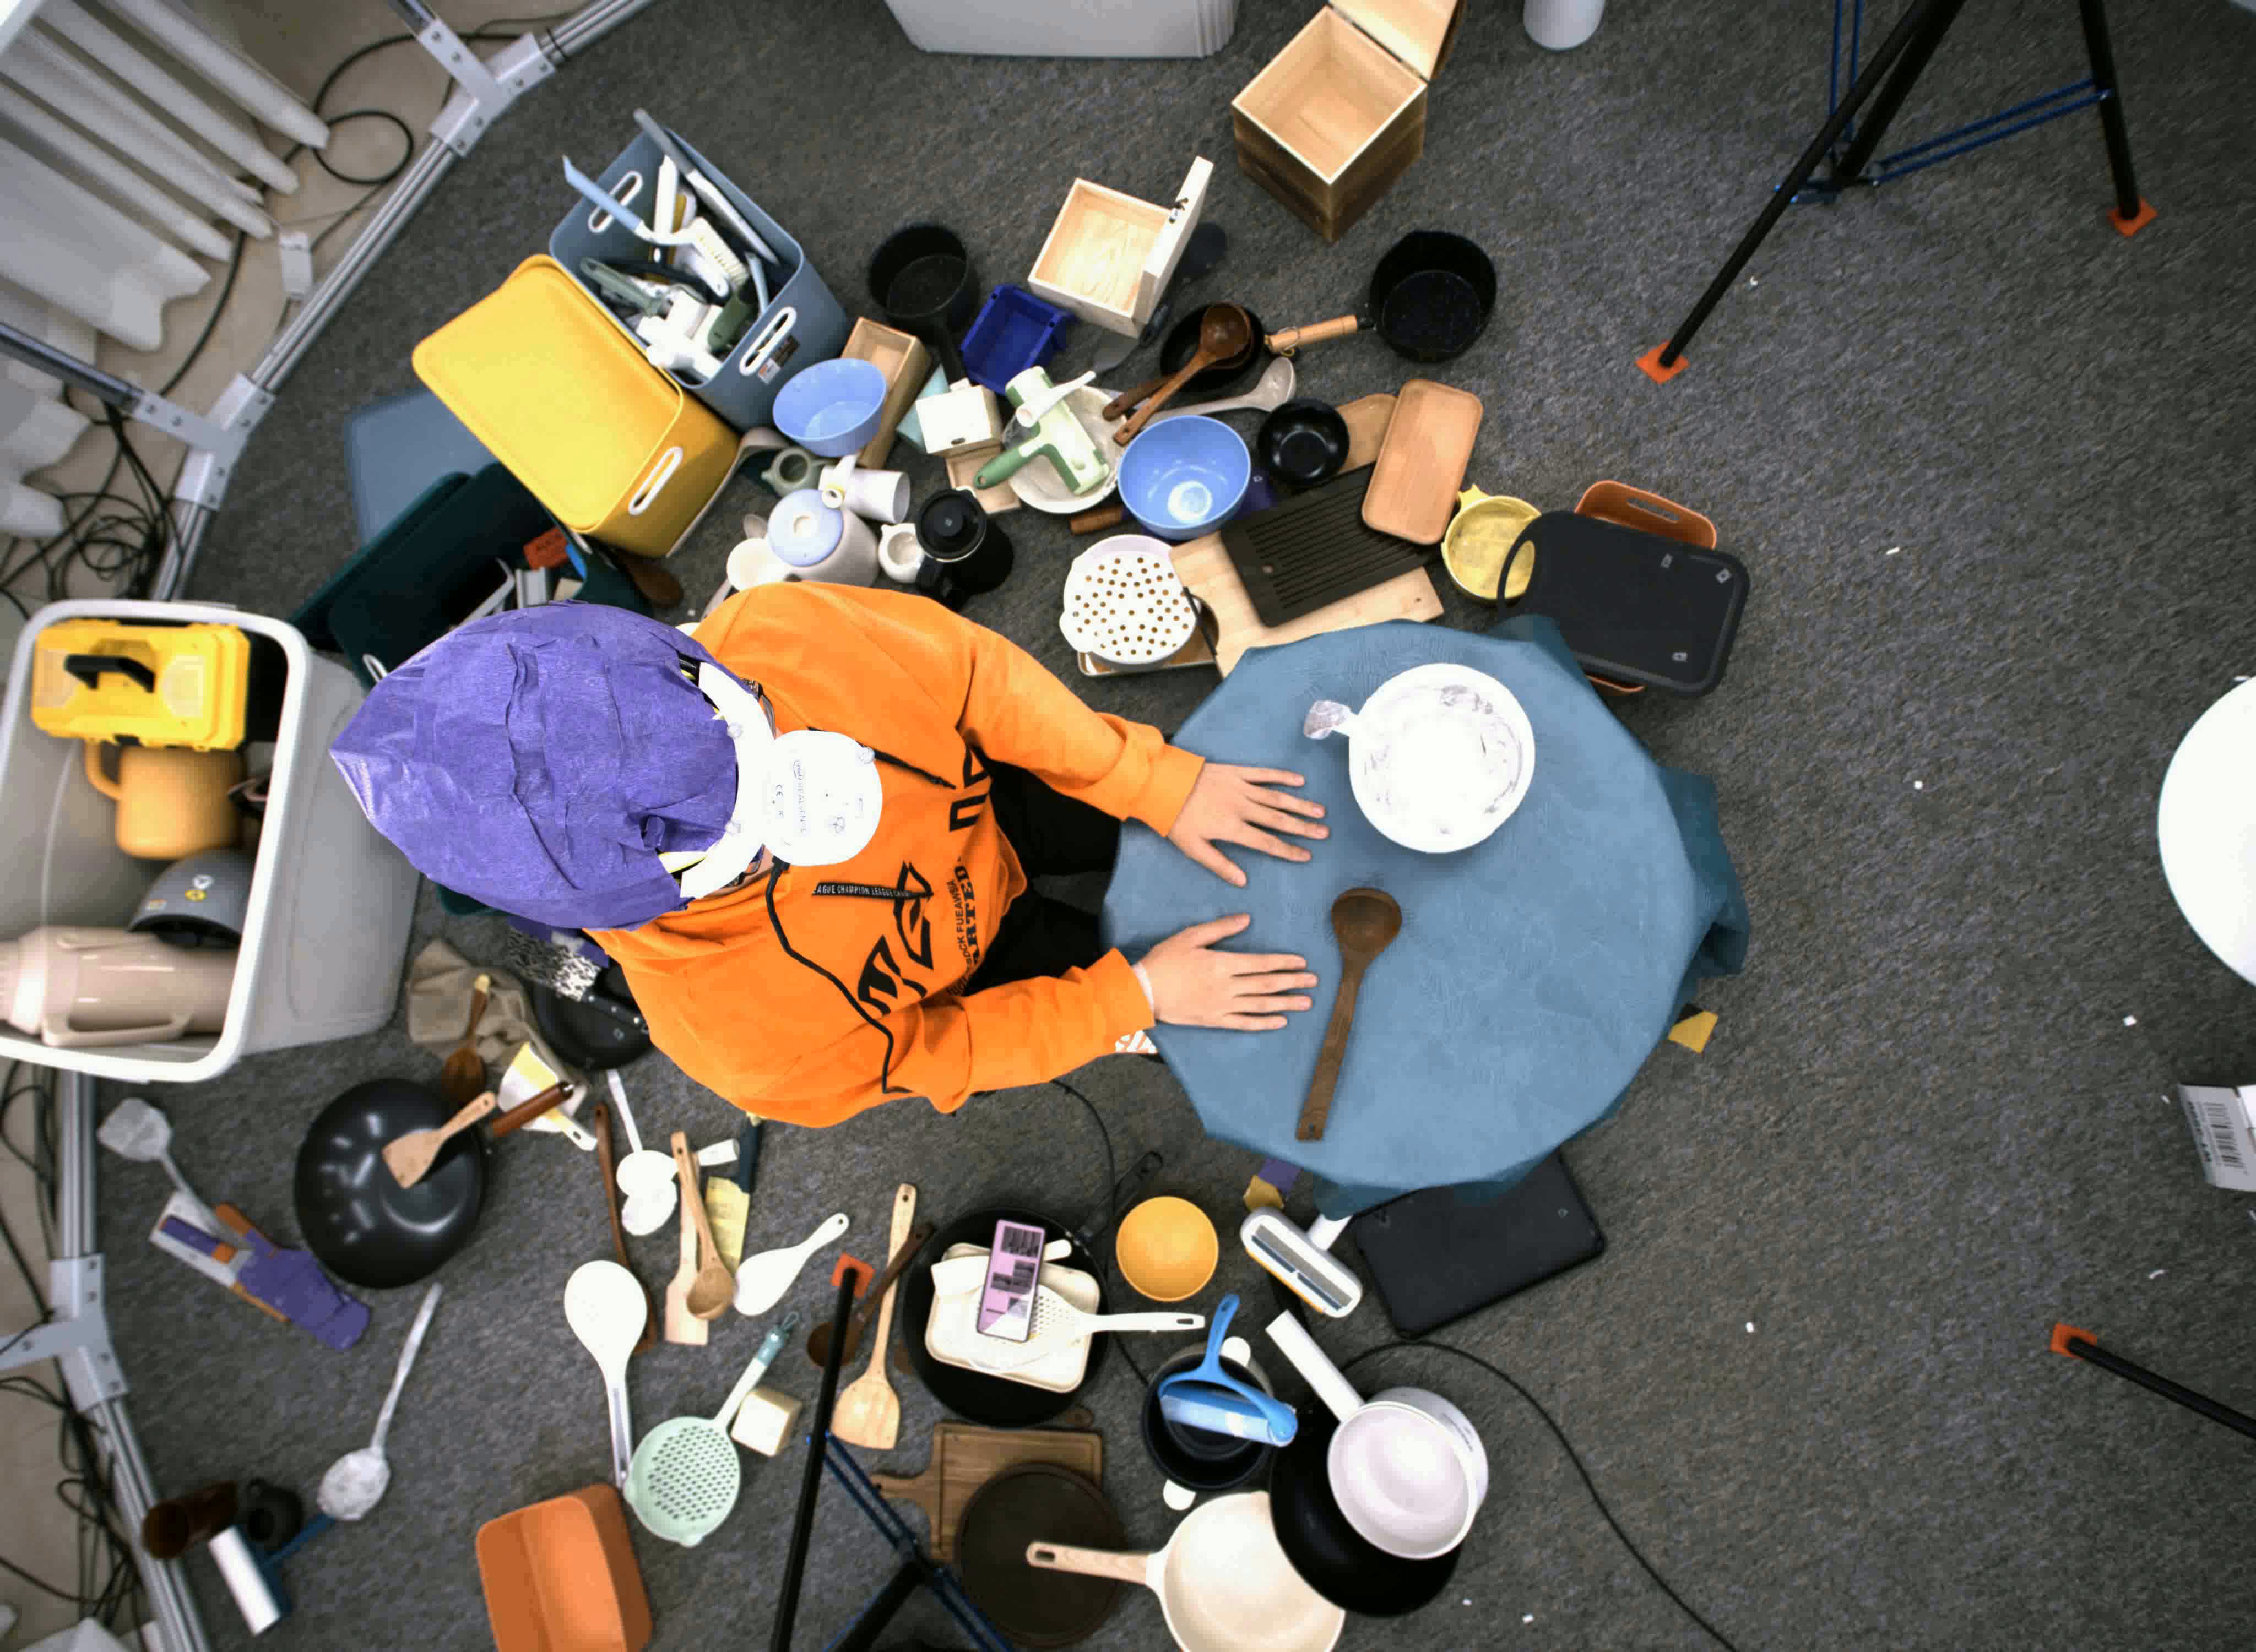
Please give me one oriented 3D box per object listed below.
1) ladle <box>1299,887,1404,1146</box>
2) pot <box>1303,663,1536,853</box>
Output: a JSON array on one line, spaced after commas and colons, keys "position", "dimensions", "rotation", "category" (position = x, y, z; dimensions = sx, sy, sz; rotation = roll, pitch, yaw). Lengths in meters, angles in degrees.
[{"position": [0.220, 0.197, 1.427], "dimensions": [0.076, 0.071, 0.273], "rotation": [15, 89, 14], "category": "ladle"}, {"position": [0.288, -0.075, 1.394], "dimensions": [0.234, 0.137, 0.178], "rotation": [21, 89, 11], "category": "pot"}]
